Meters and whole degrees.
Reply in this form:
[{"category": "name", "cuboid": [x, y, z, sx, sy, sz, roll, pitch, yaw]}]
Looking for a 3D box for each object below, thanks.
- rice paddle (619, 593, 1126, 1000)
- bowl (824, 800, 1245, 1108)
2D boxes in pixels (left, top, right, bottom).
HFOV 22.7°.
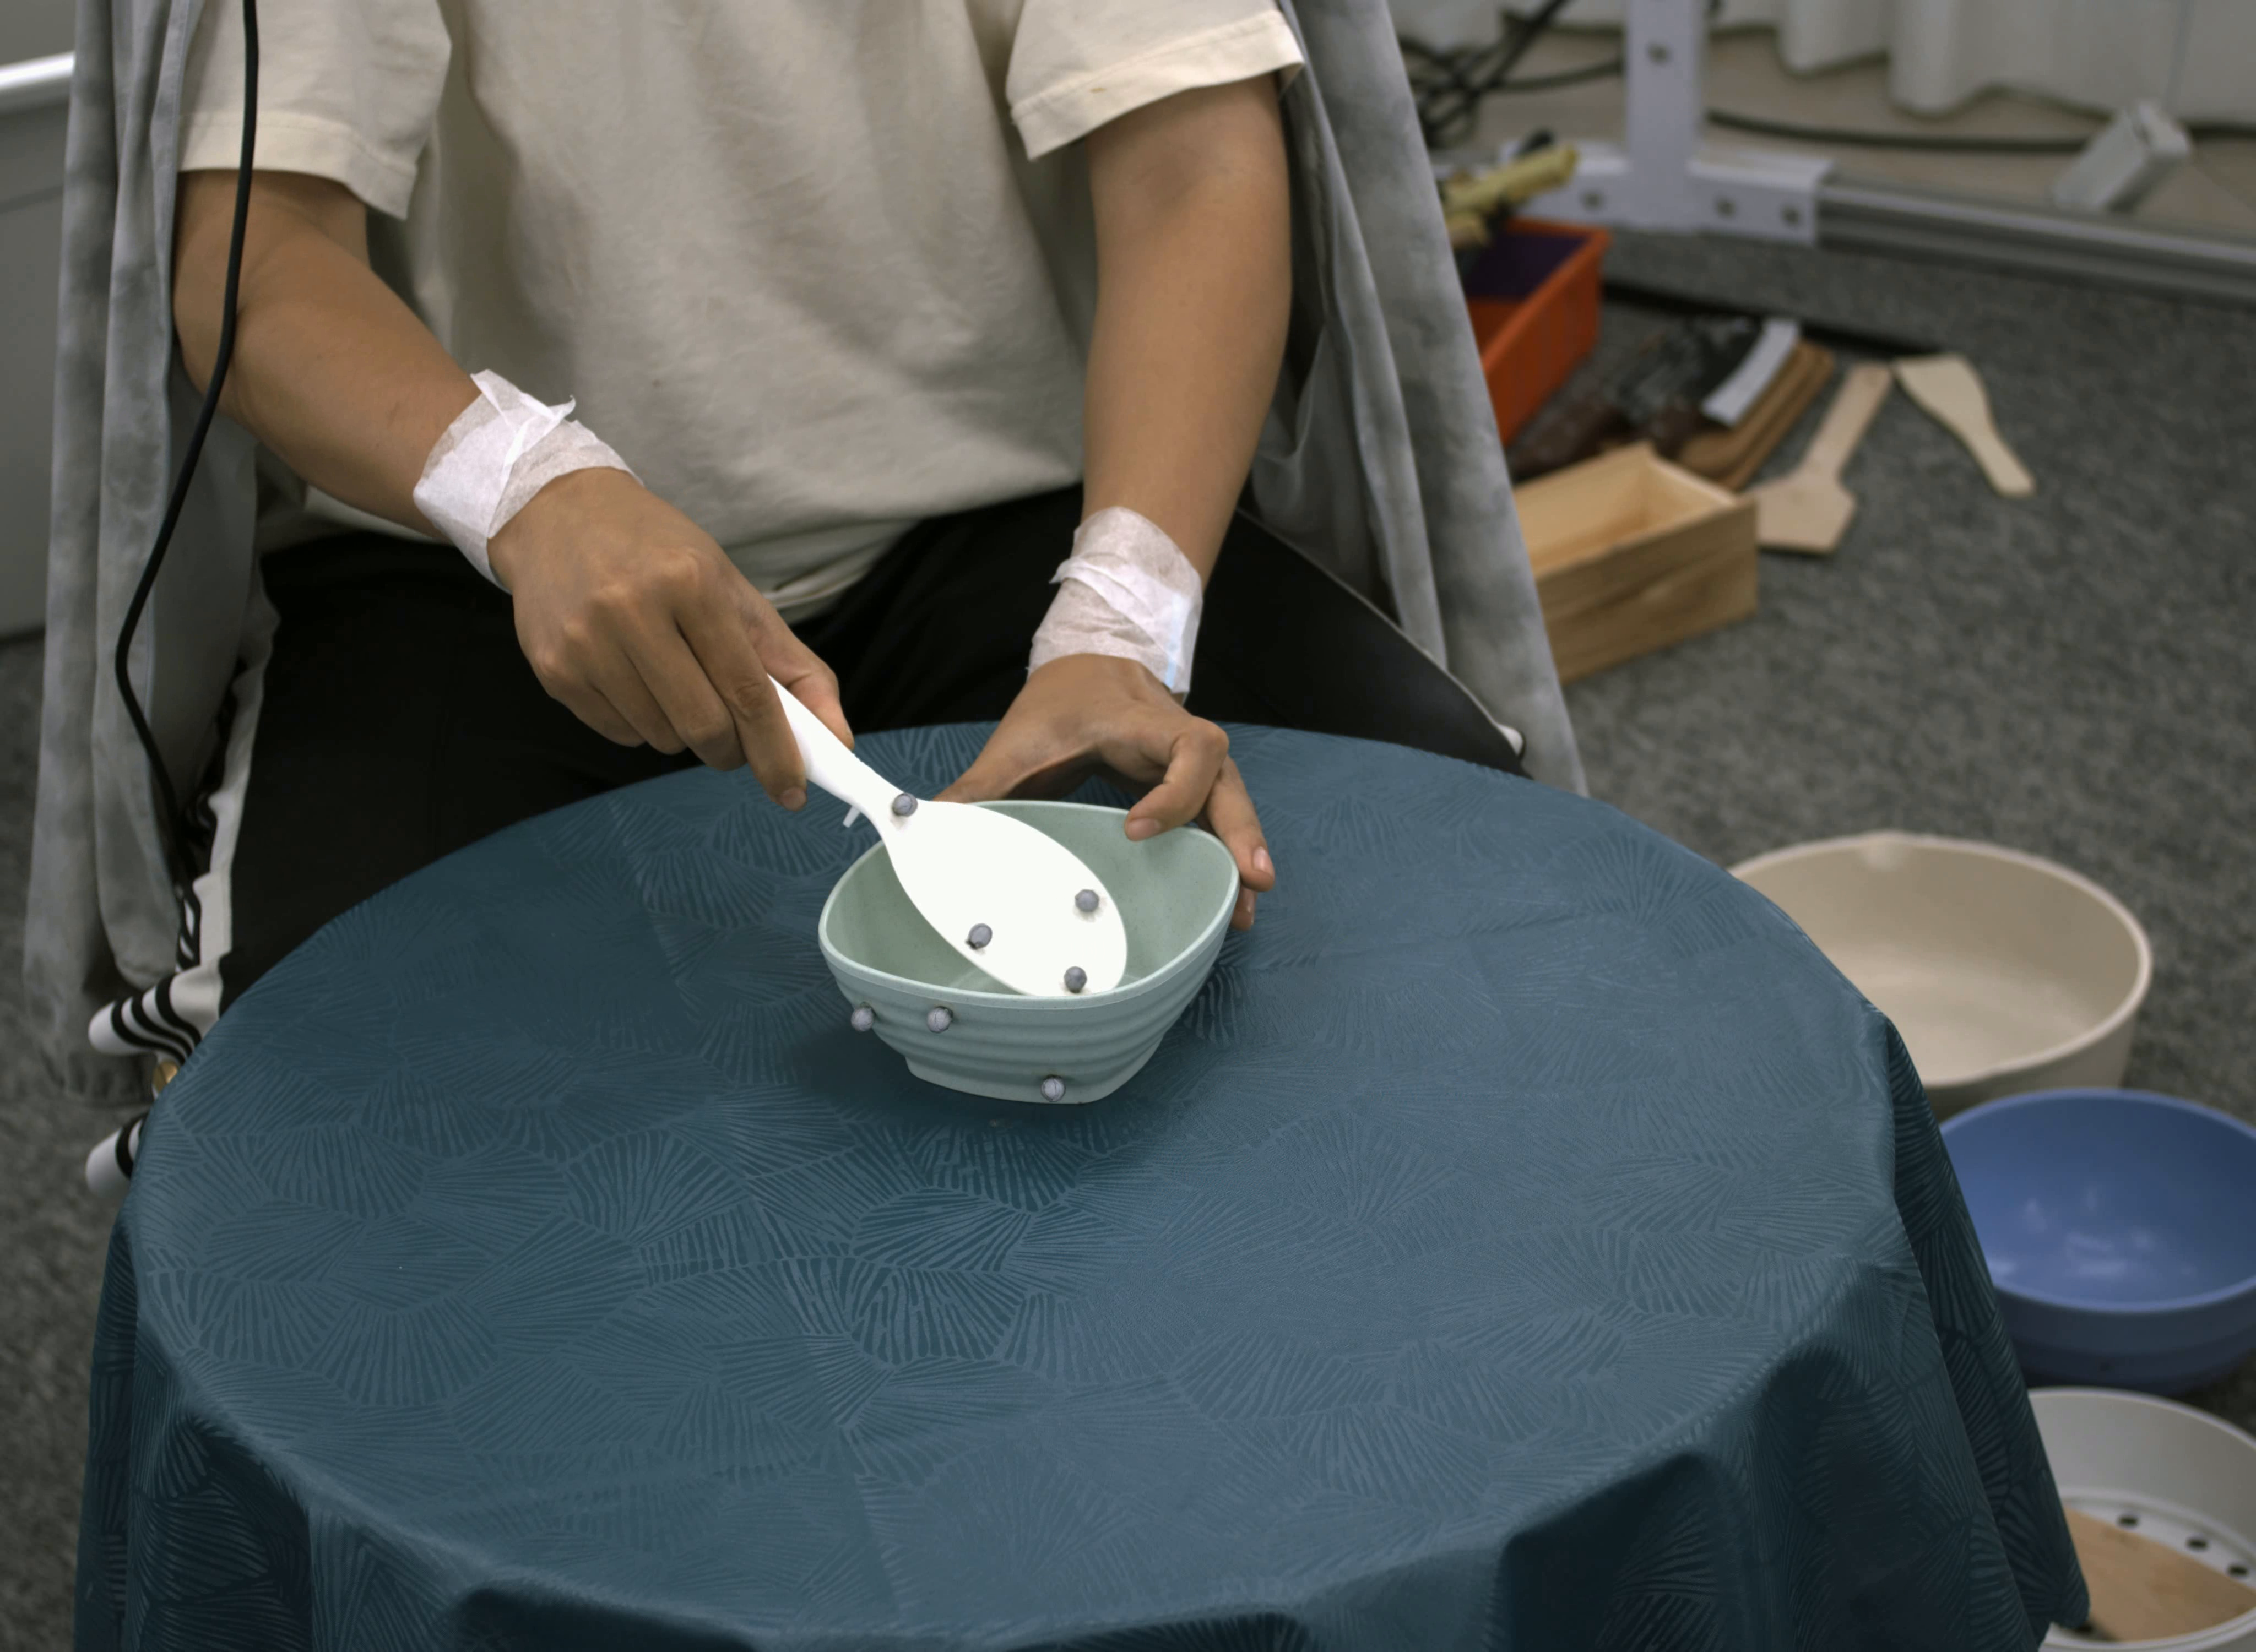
[{"category": "rice paddle", "cuboid": [-0.085, -0.009, 1.945, 0.205, 0.029, 0.070, 36, 46, 0]}, {"category": "bowl", "cuboid": [-0.030, 0.050, 1.942, 0.150, 0.058, 0.154, -3, 28, 2]}]
